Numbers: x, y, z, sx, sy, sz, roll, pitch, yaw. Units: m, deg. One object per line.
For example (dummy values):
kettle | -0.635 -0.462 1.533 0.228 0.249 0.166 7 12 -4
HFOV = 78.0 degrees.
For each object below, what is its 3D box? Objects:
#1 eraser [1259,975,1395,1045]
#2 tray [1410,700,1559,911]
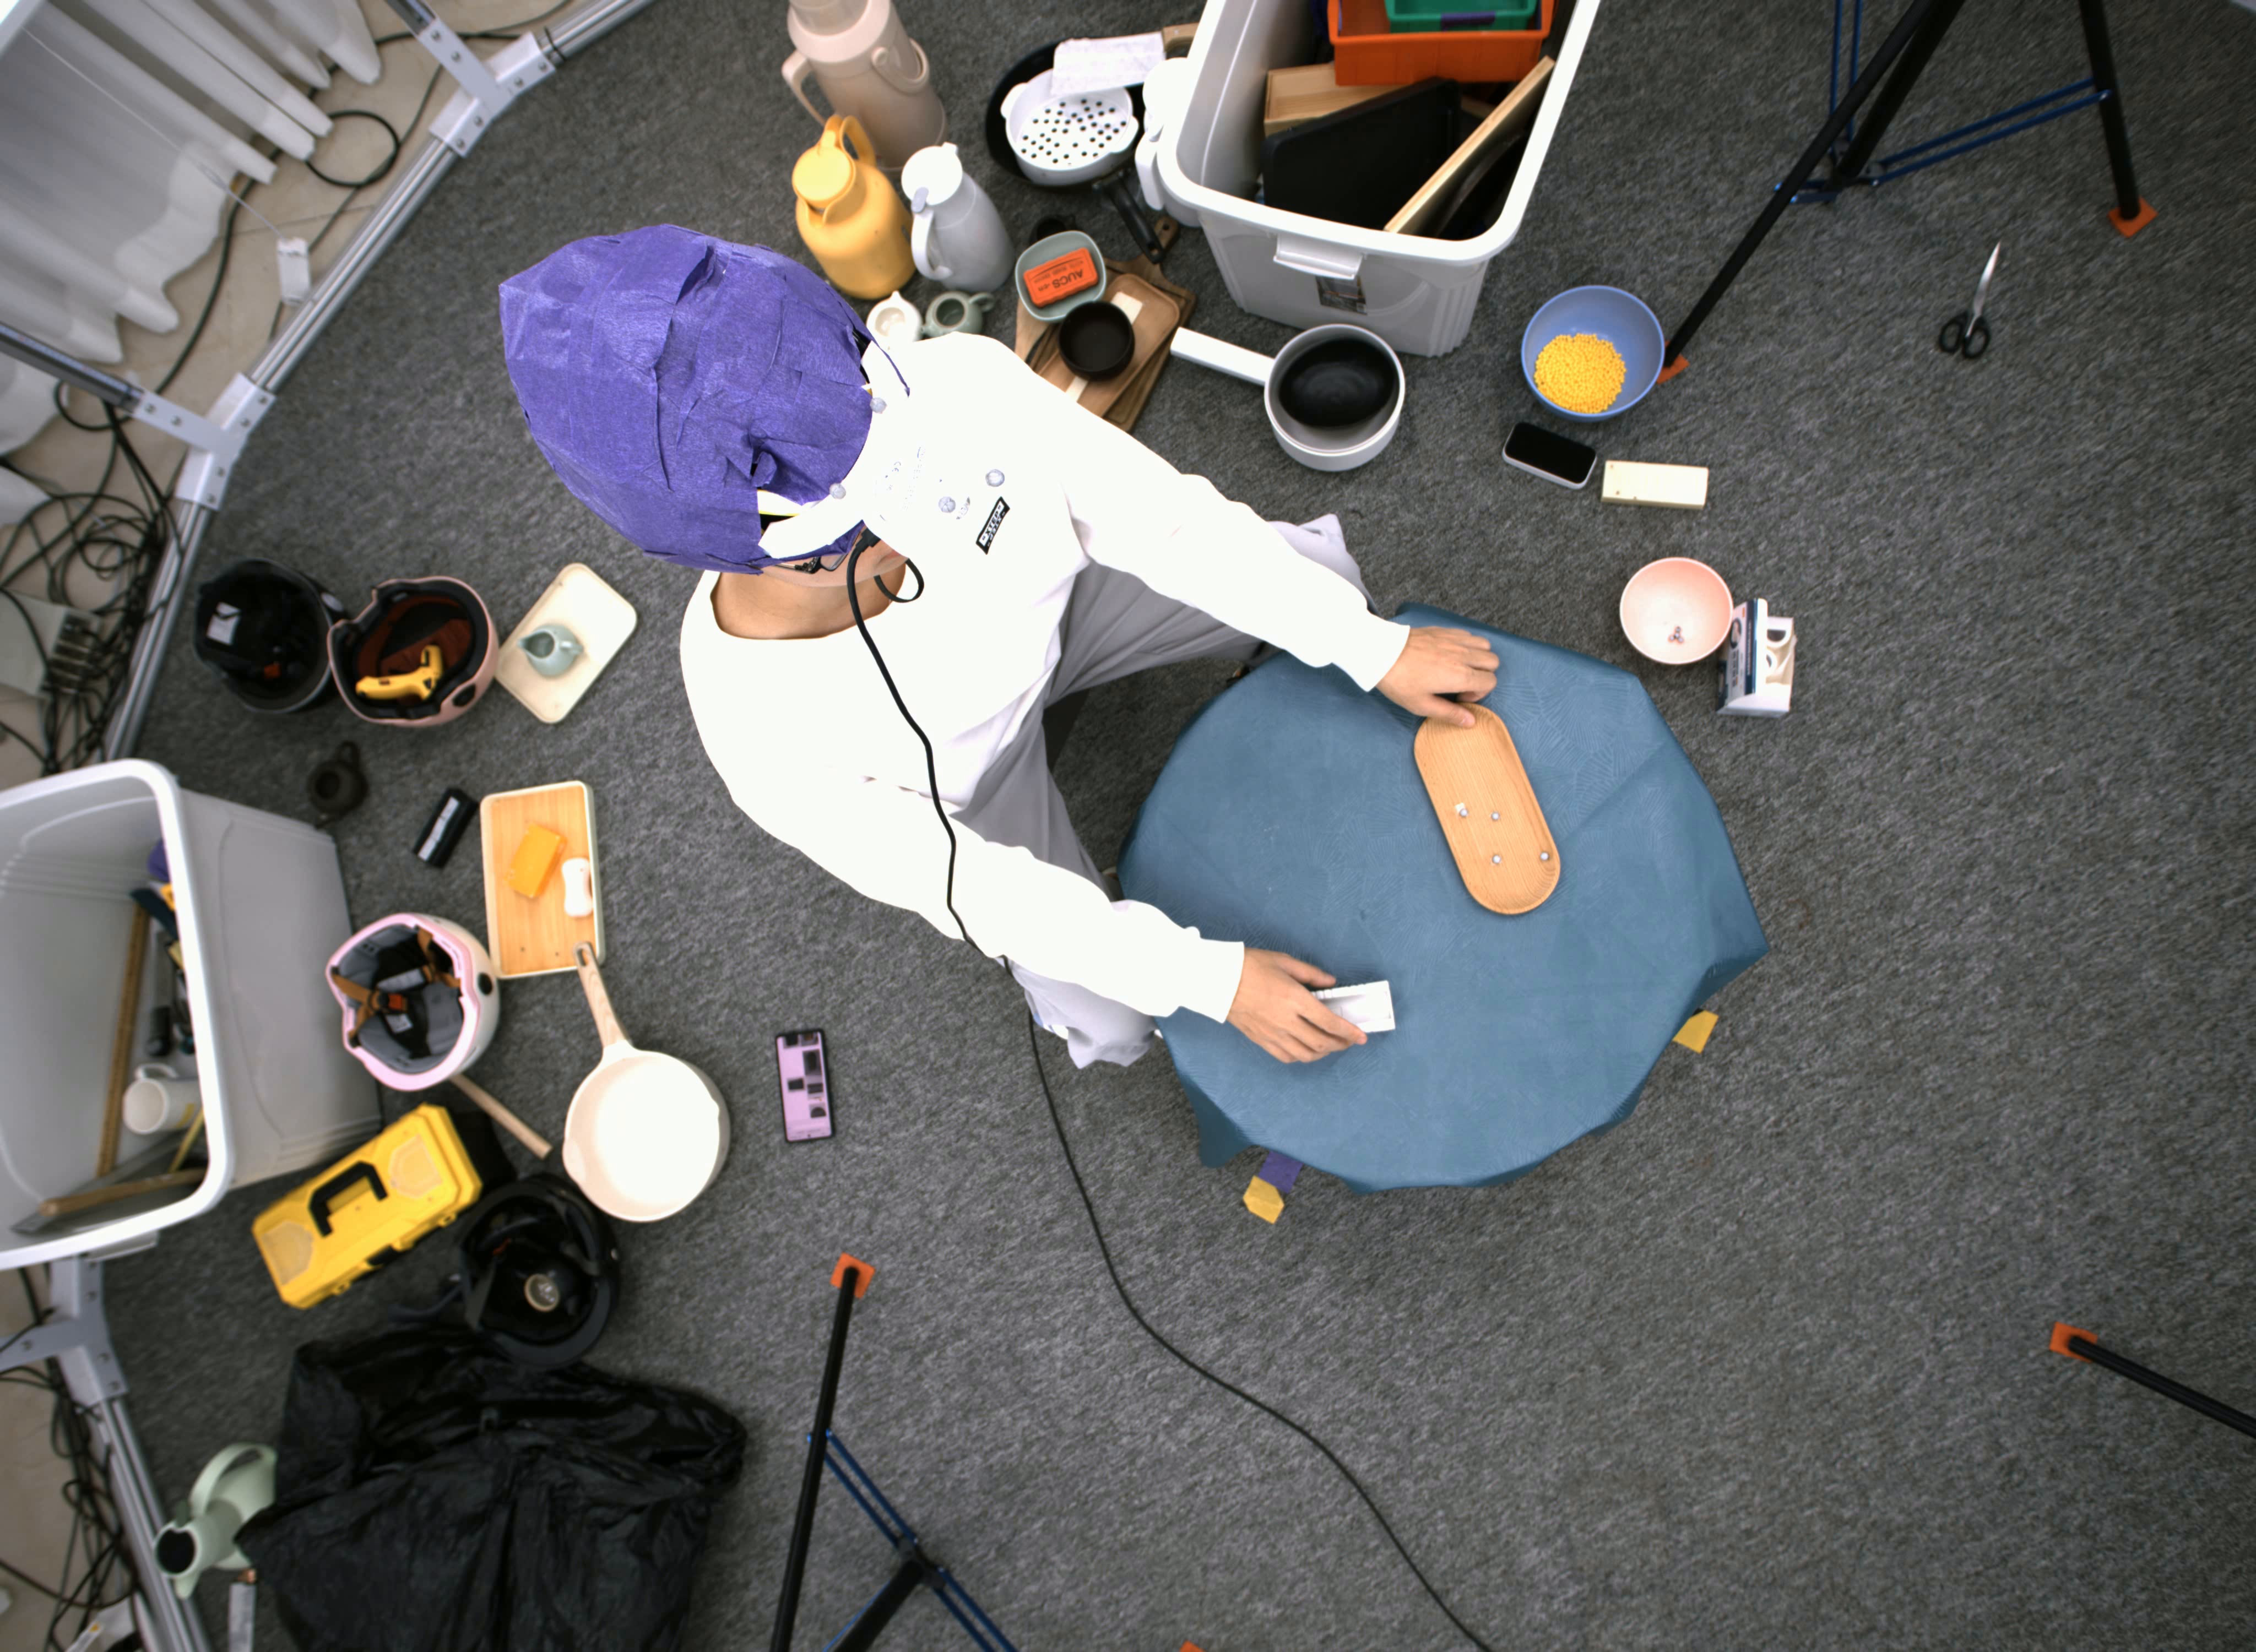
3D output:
eraser | 0.207 0.191 1.440 0.135 0.047 0.049 -12 77 9
tray | 0.373 -0.024 1.438 0.102 0.020 0.229 -22 81 8
